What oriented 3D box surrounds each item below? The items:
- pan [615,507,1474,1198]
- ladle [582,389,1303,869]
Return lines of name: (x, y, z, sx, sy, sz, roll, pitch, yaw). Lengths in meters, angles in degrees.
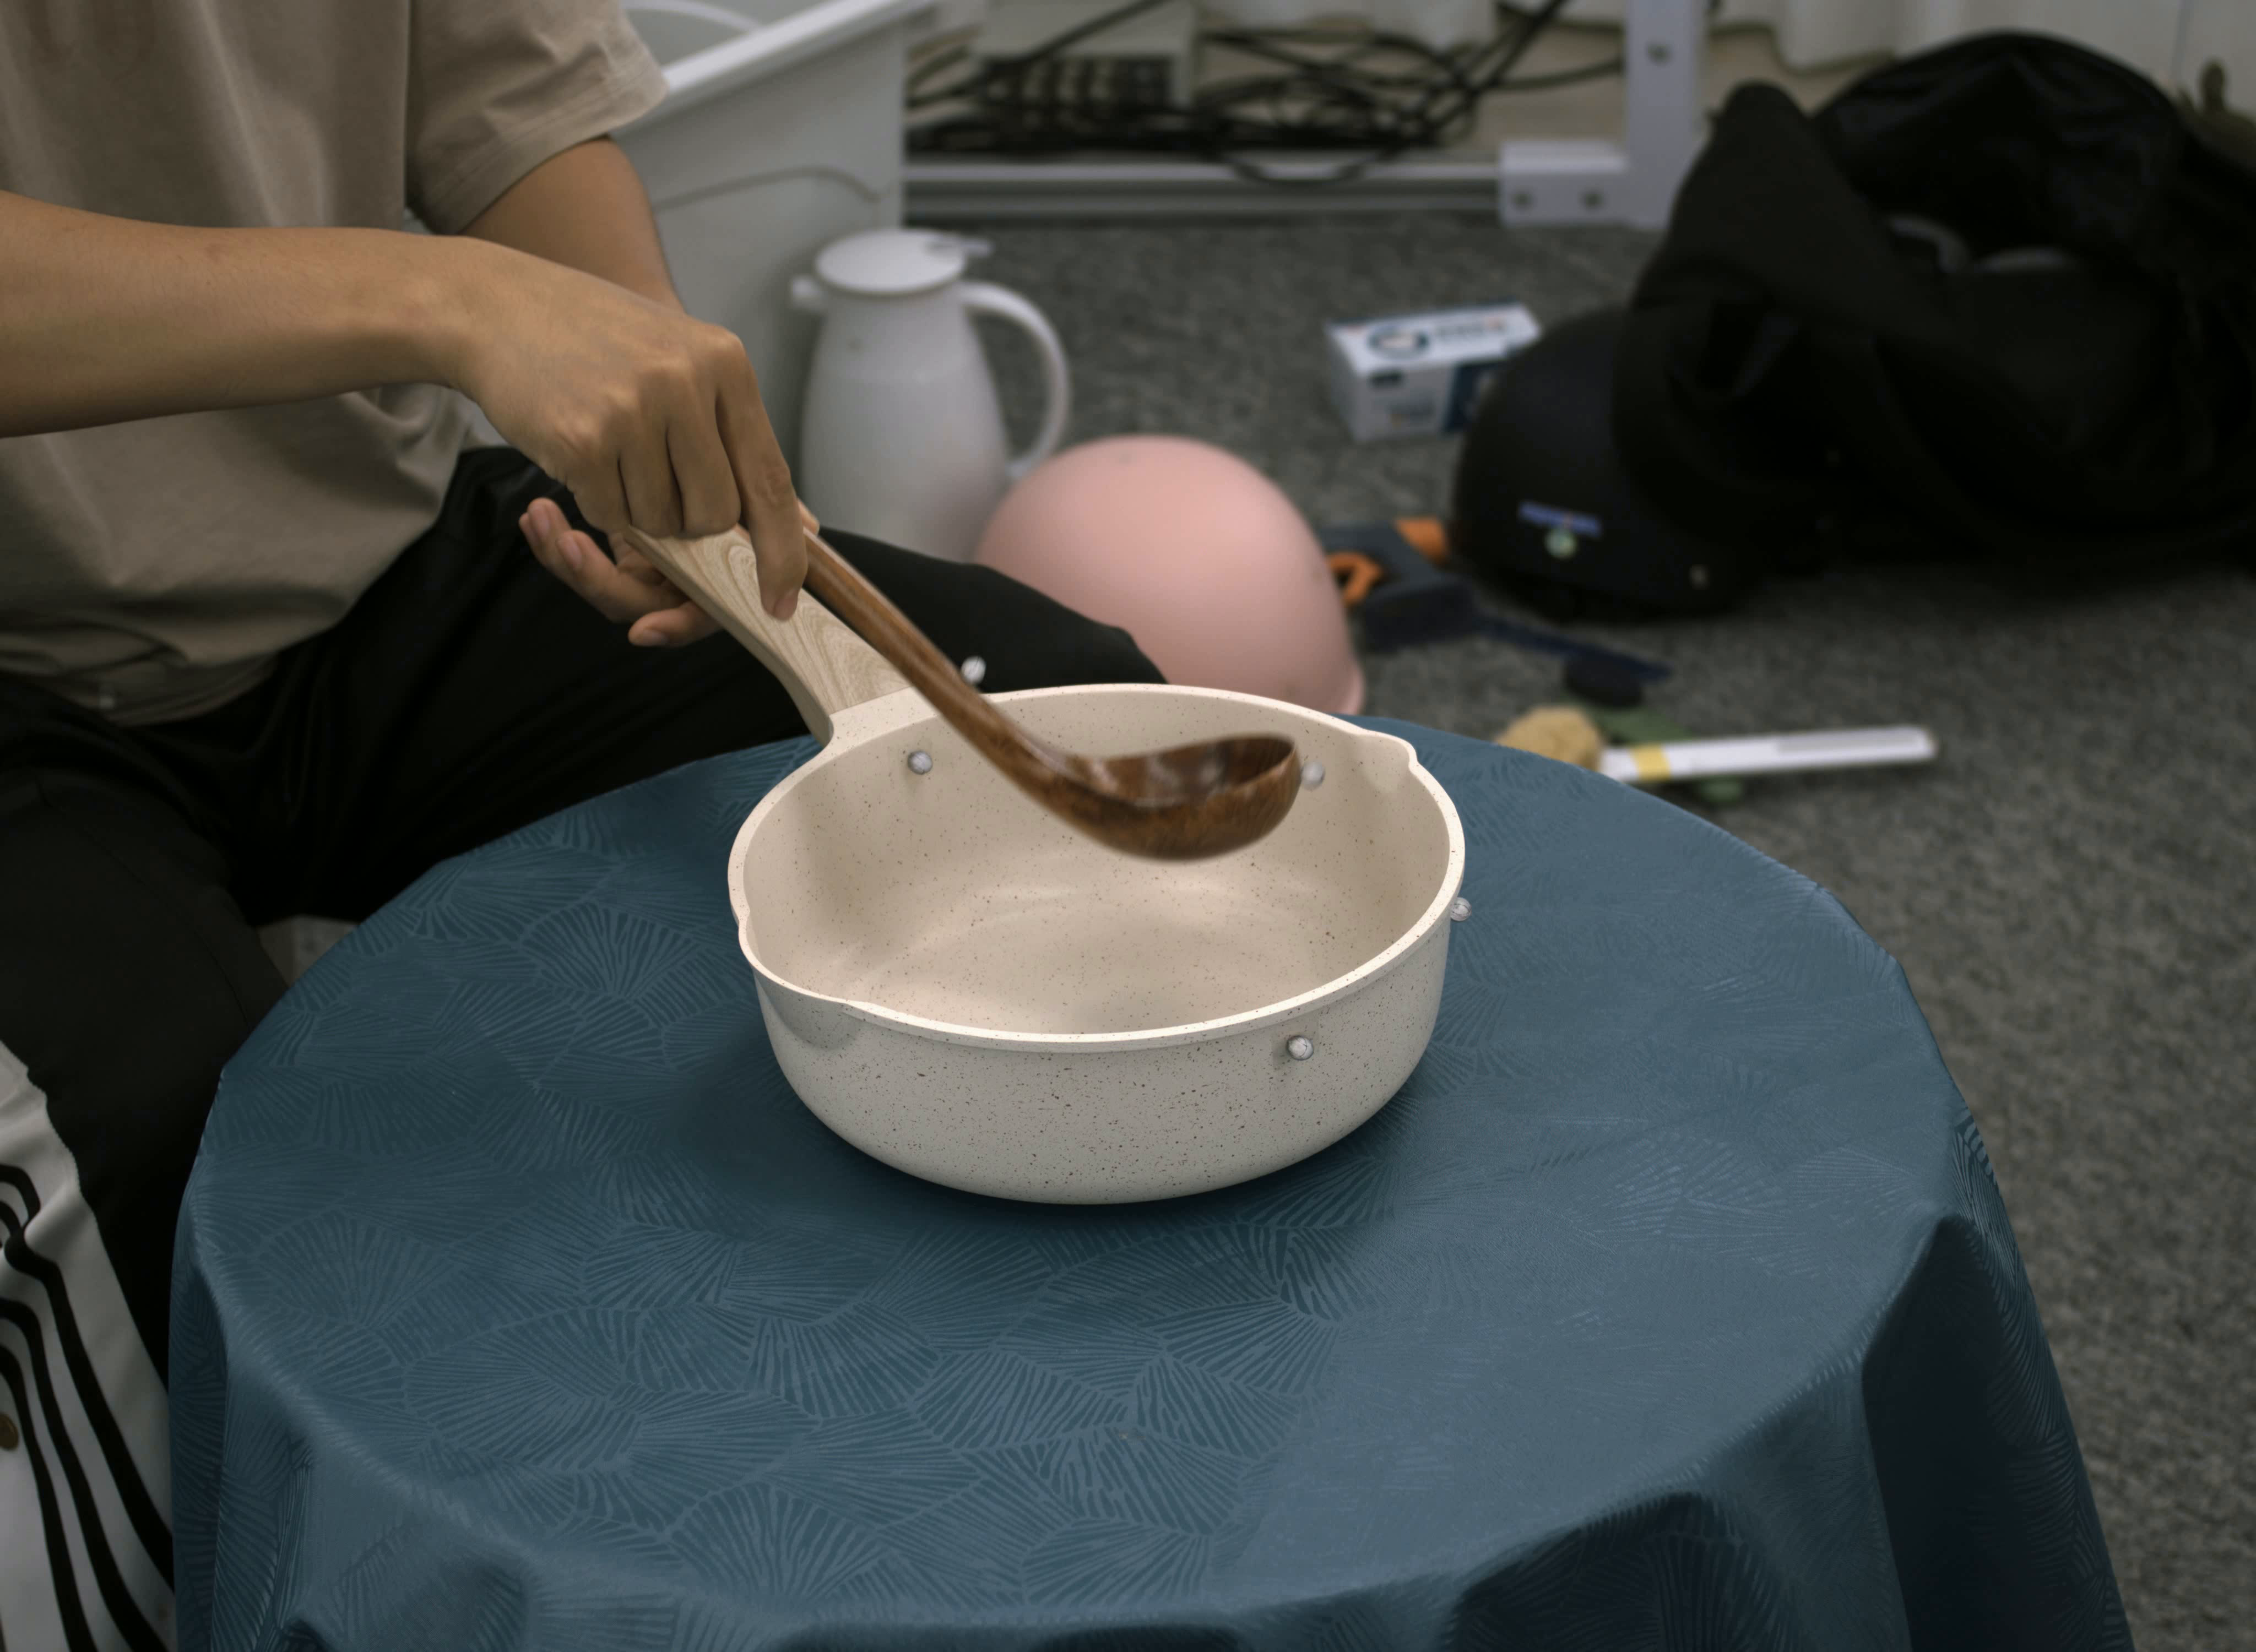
pan: (-0.057, 0.002, 1.991, 0.265, 0.101, 0.436, -21, 32, -28)
ladle: (-0.058, -0.078, 1.909, 0.076, 0.273, 0.082, -48, 10, 1)
